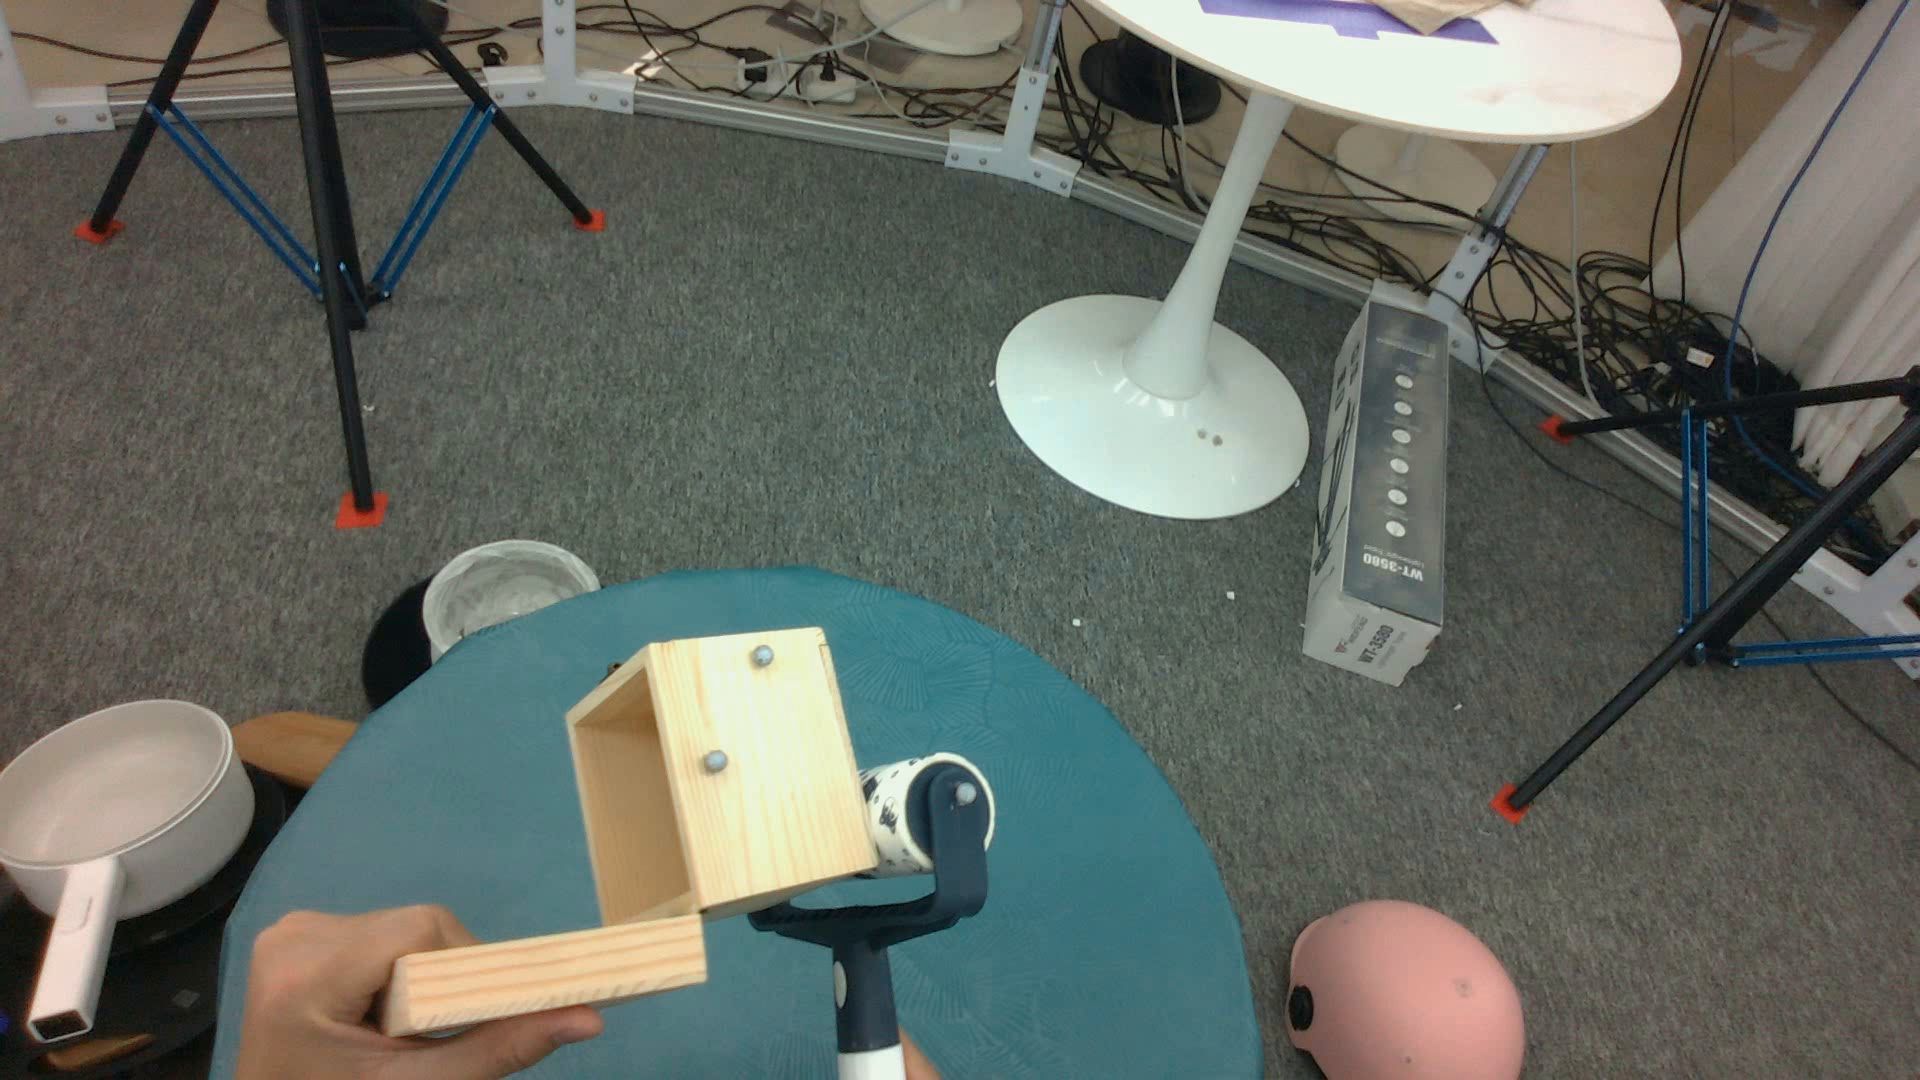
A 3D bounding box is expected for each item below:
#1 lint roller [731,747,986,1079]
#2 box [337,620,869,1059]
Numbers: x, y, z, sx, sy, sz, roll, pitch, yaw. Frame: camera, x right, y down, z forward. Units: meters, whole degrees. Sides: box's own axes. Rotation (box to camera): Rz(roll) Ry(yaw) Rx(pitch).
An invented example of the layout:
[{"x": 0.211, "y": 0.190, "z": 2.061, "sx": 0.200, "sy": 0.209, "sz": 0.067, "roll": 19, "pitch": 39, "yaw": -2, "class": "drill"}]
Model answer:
[{"x": -0.041, "y": 0.221, "z": 0.590, "sx": 0.050, "sy": 0.175, "sz": 0.247, "roll": 0, "pitch": 76, "yaw": -37, "class": "lint roller"}, {"x": -0.145, "y": 0.111, "z": 0.539, "sx": 0.185, "sy": 0.102, "sz": 0.134, "roll": -5, "pitch": 71, "yaw": -37, "class": "box"}]
